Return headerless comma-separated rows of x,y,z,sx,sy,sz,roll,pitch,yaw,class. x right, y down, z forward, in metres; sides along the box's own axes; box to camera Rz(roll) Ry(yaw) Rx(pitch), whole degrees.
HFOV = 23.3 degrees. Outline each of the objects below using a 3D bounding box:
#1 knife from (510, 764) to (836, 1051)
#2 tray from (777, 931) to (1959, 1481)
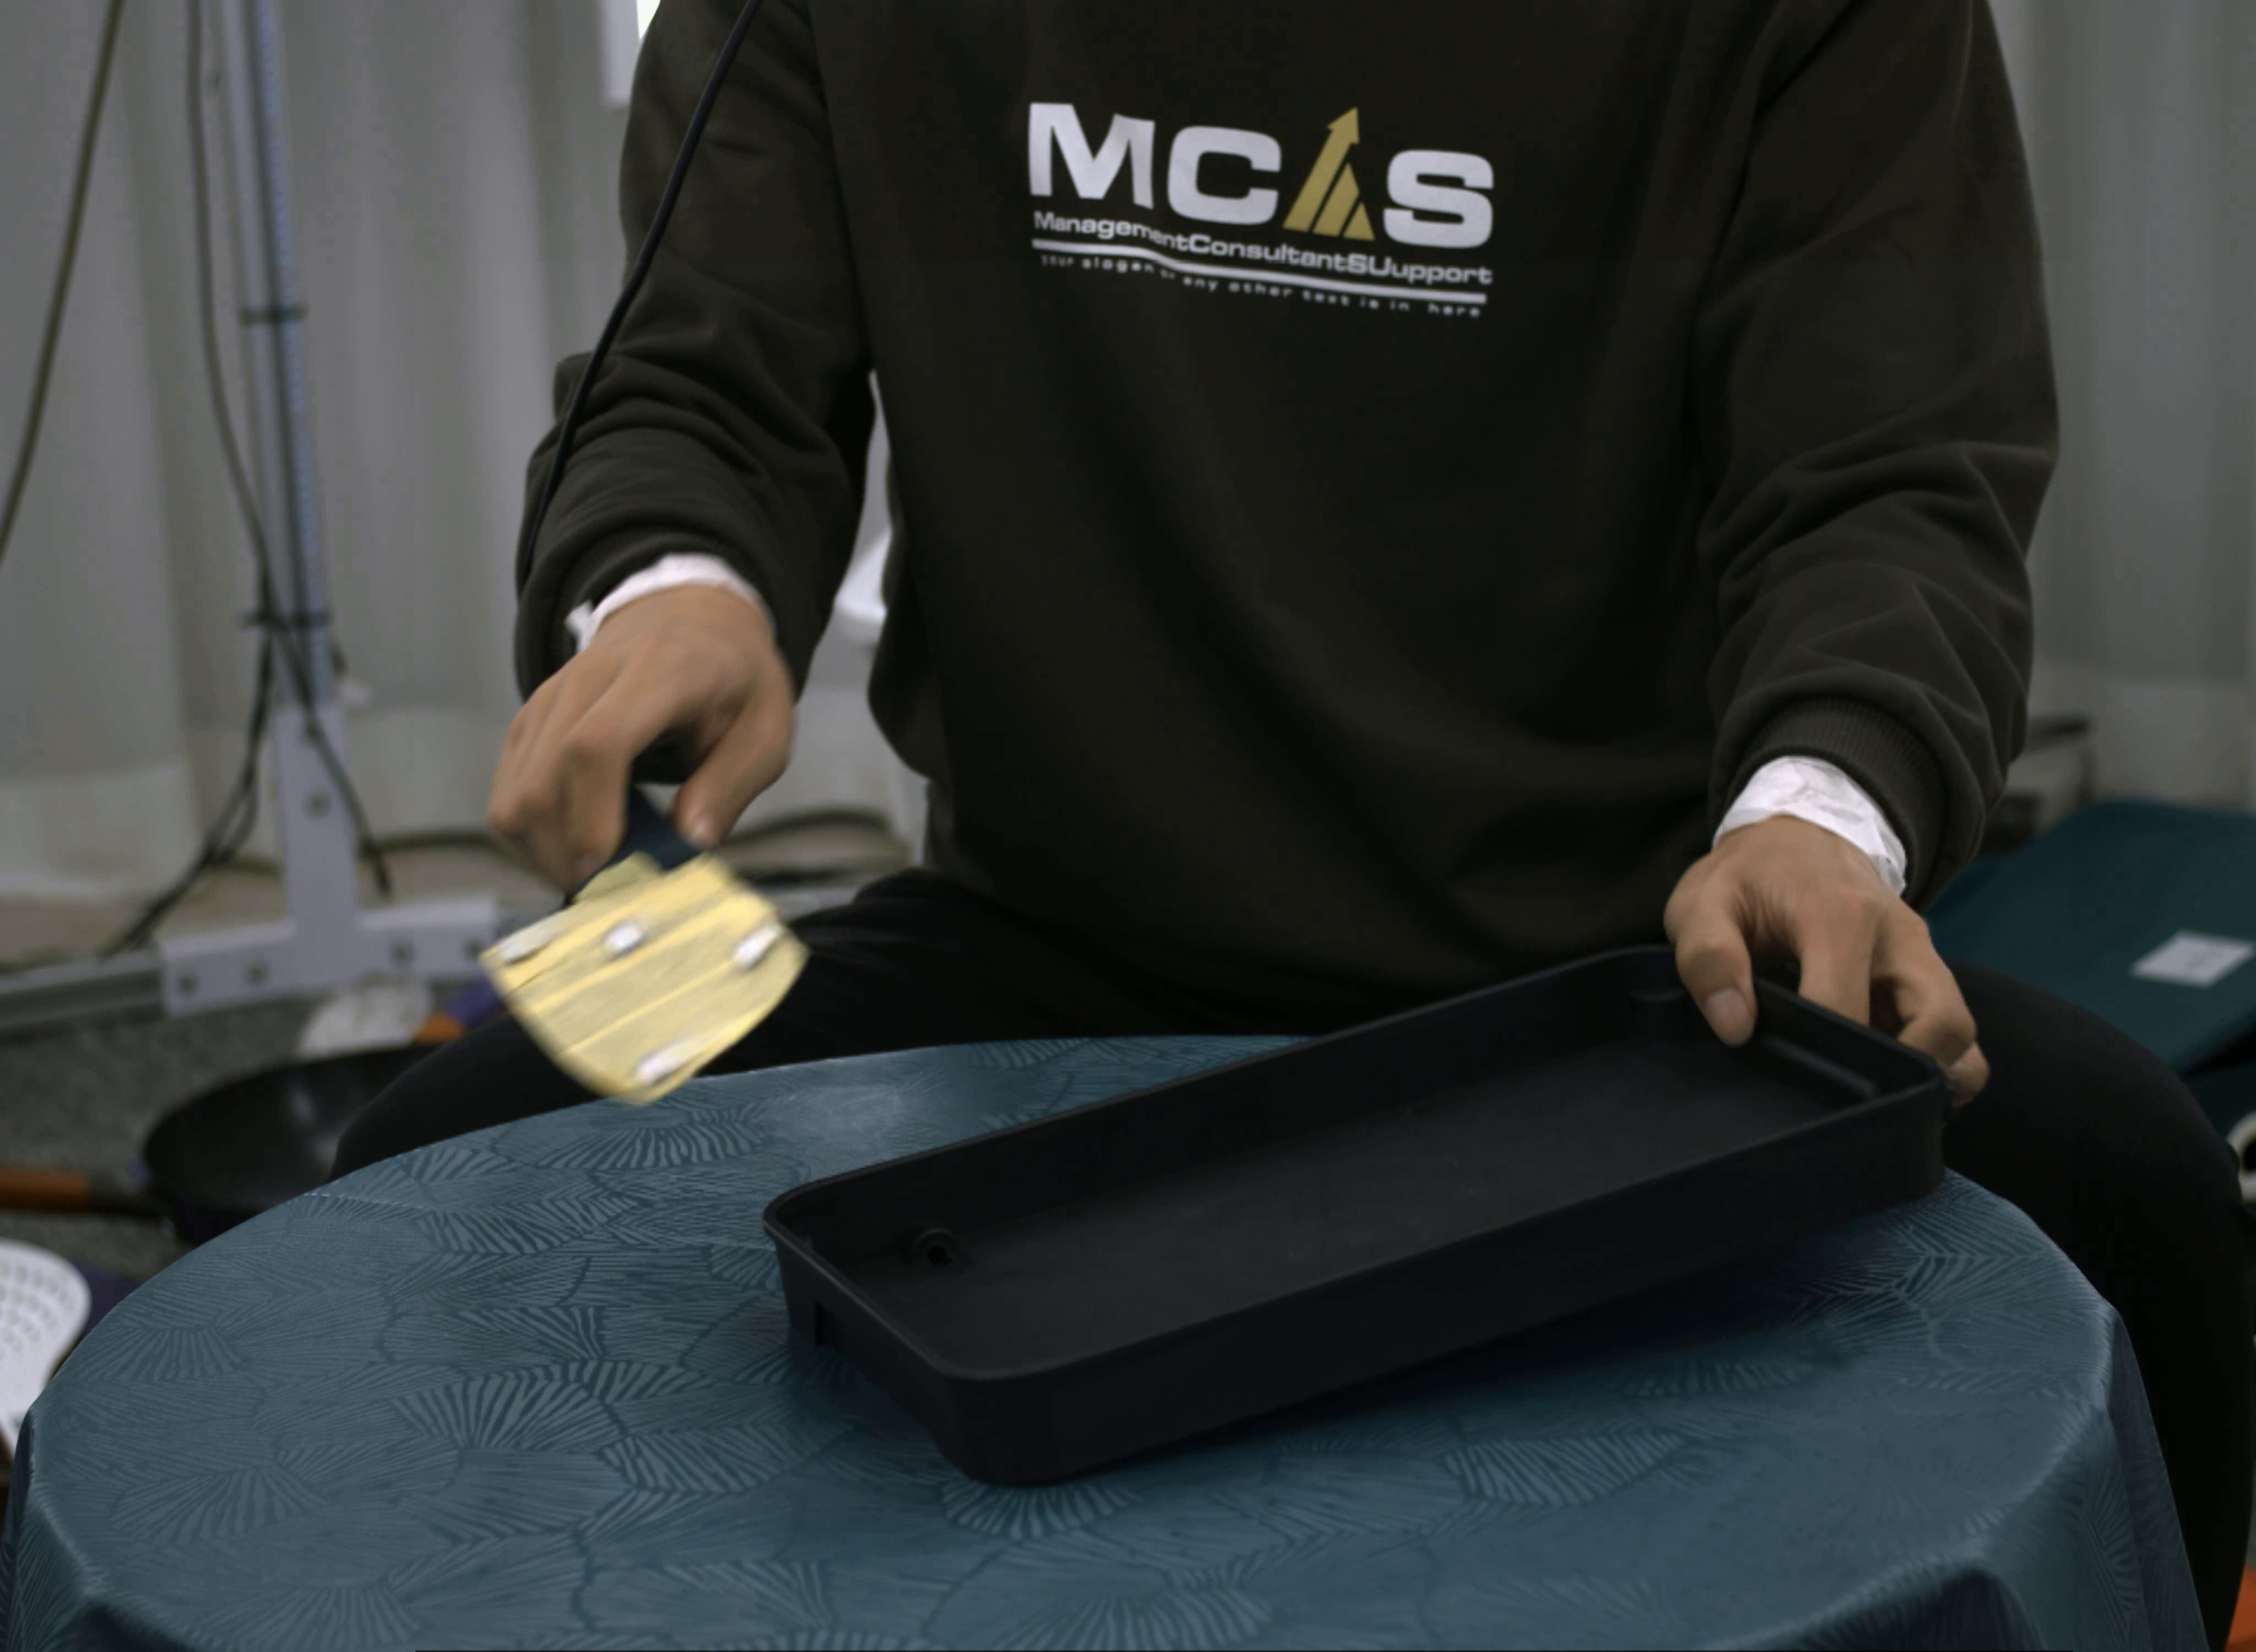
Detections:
-0.144,0.023,1.616,0.081,0.027,0.291,-28,18,-9,knife
0.071,0.105,1.600,0.317,0.037,0.185,-17,17,-22,tray
